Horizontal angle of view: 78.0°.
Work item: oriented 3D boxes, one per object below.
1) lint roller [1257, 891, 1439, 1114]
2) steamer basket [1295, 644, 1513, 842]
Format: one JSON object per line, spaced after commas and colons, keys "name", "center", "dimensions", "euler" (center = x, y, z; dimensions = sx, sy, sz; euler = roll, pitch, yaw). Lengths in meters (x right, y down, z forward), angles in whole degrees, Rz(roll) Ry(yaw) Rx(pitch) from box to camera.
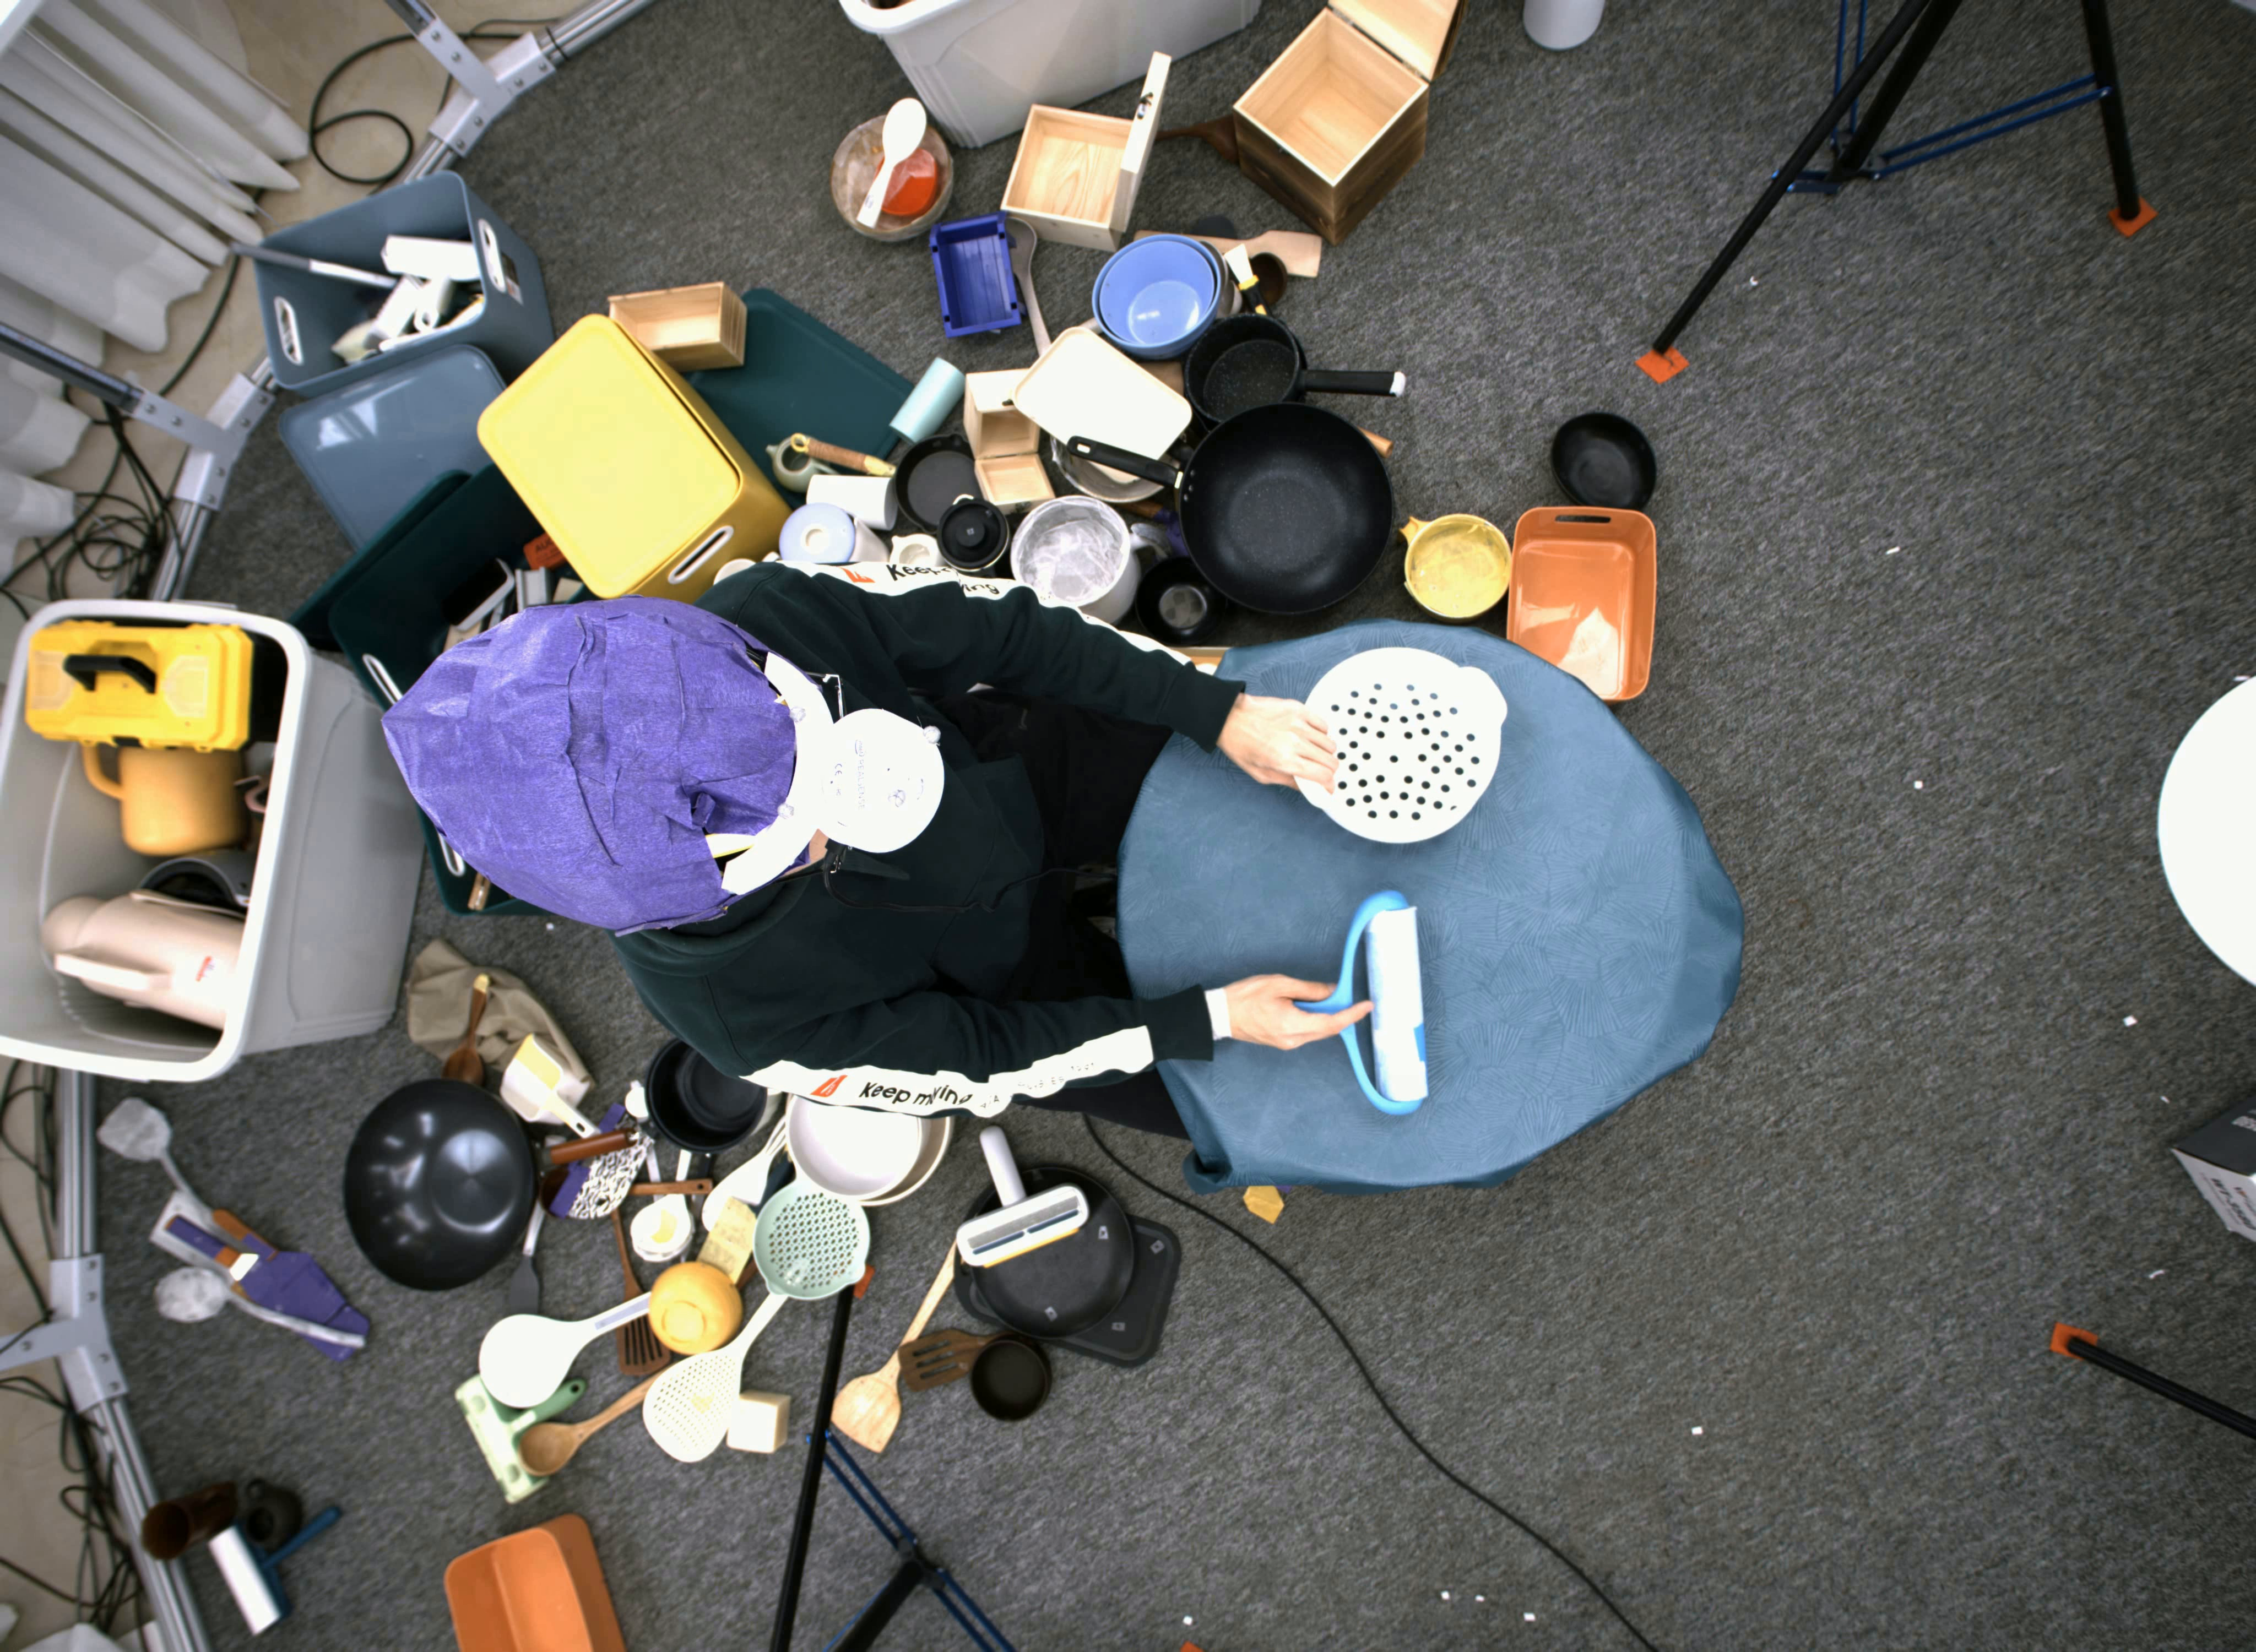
{"name": "lint roller", "center": [0.222, 0.188, 1.420], "dimensions": [0.181, 0.067, 0.229], "euler": [-9, 93, 8]}
{"name": "steamer basket", "center": [0.282, -0.085, 1.413], "dimensions": [0.231, 0.070, 0.199], "euler": [-27, 73, 0]}
